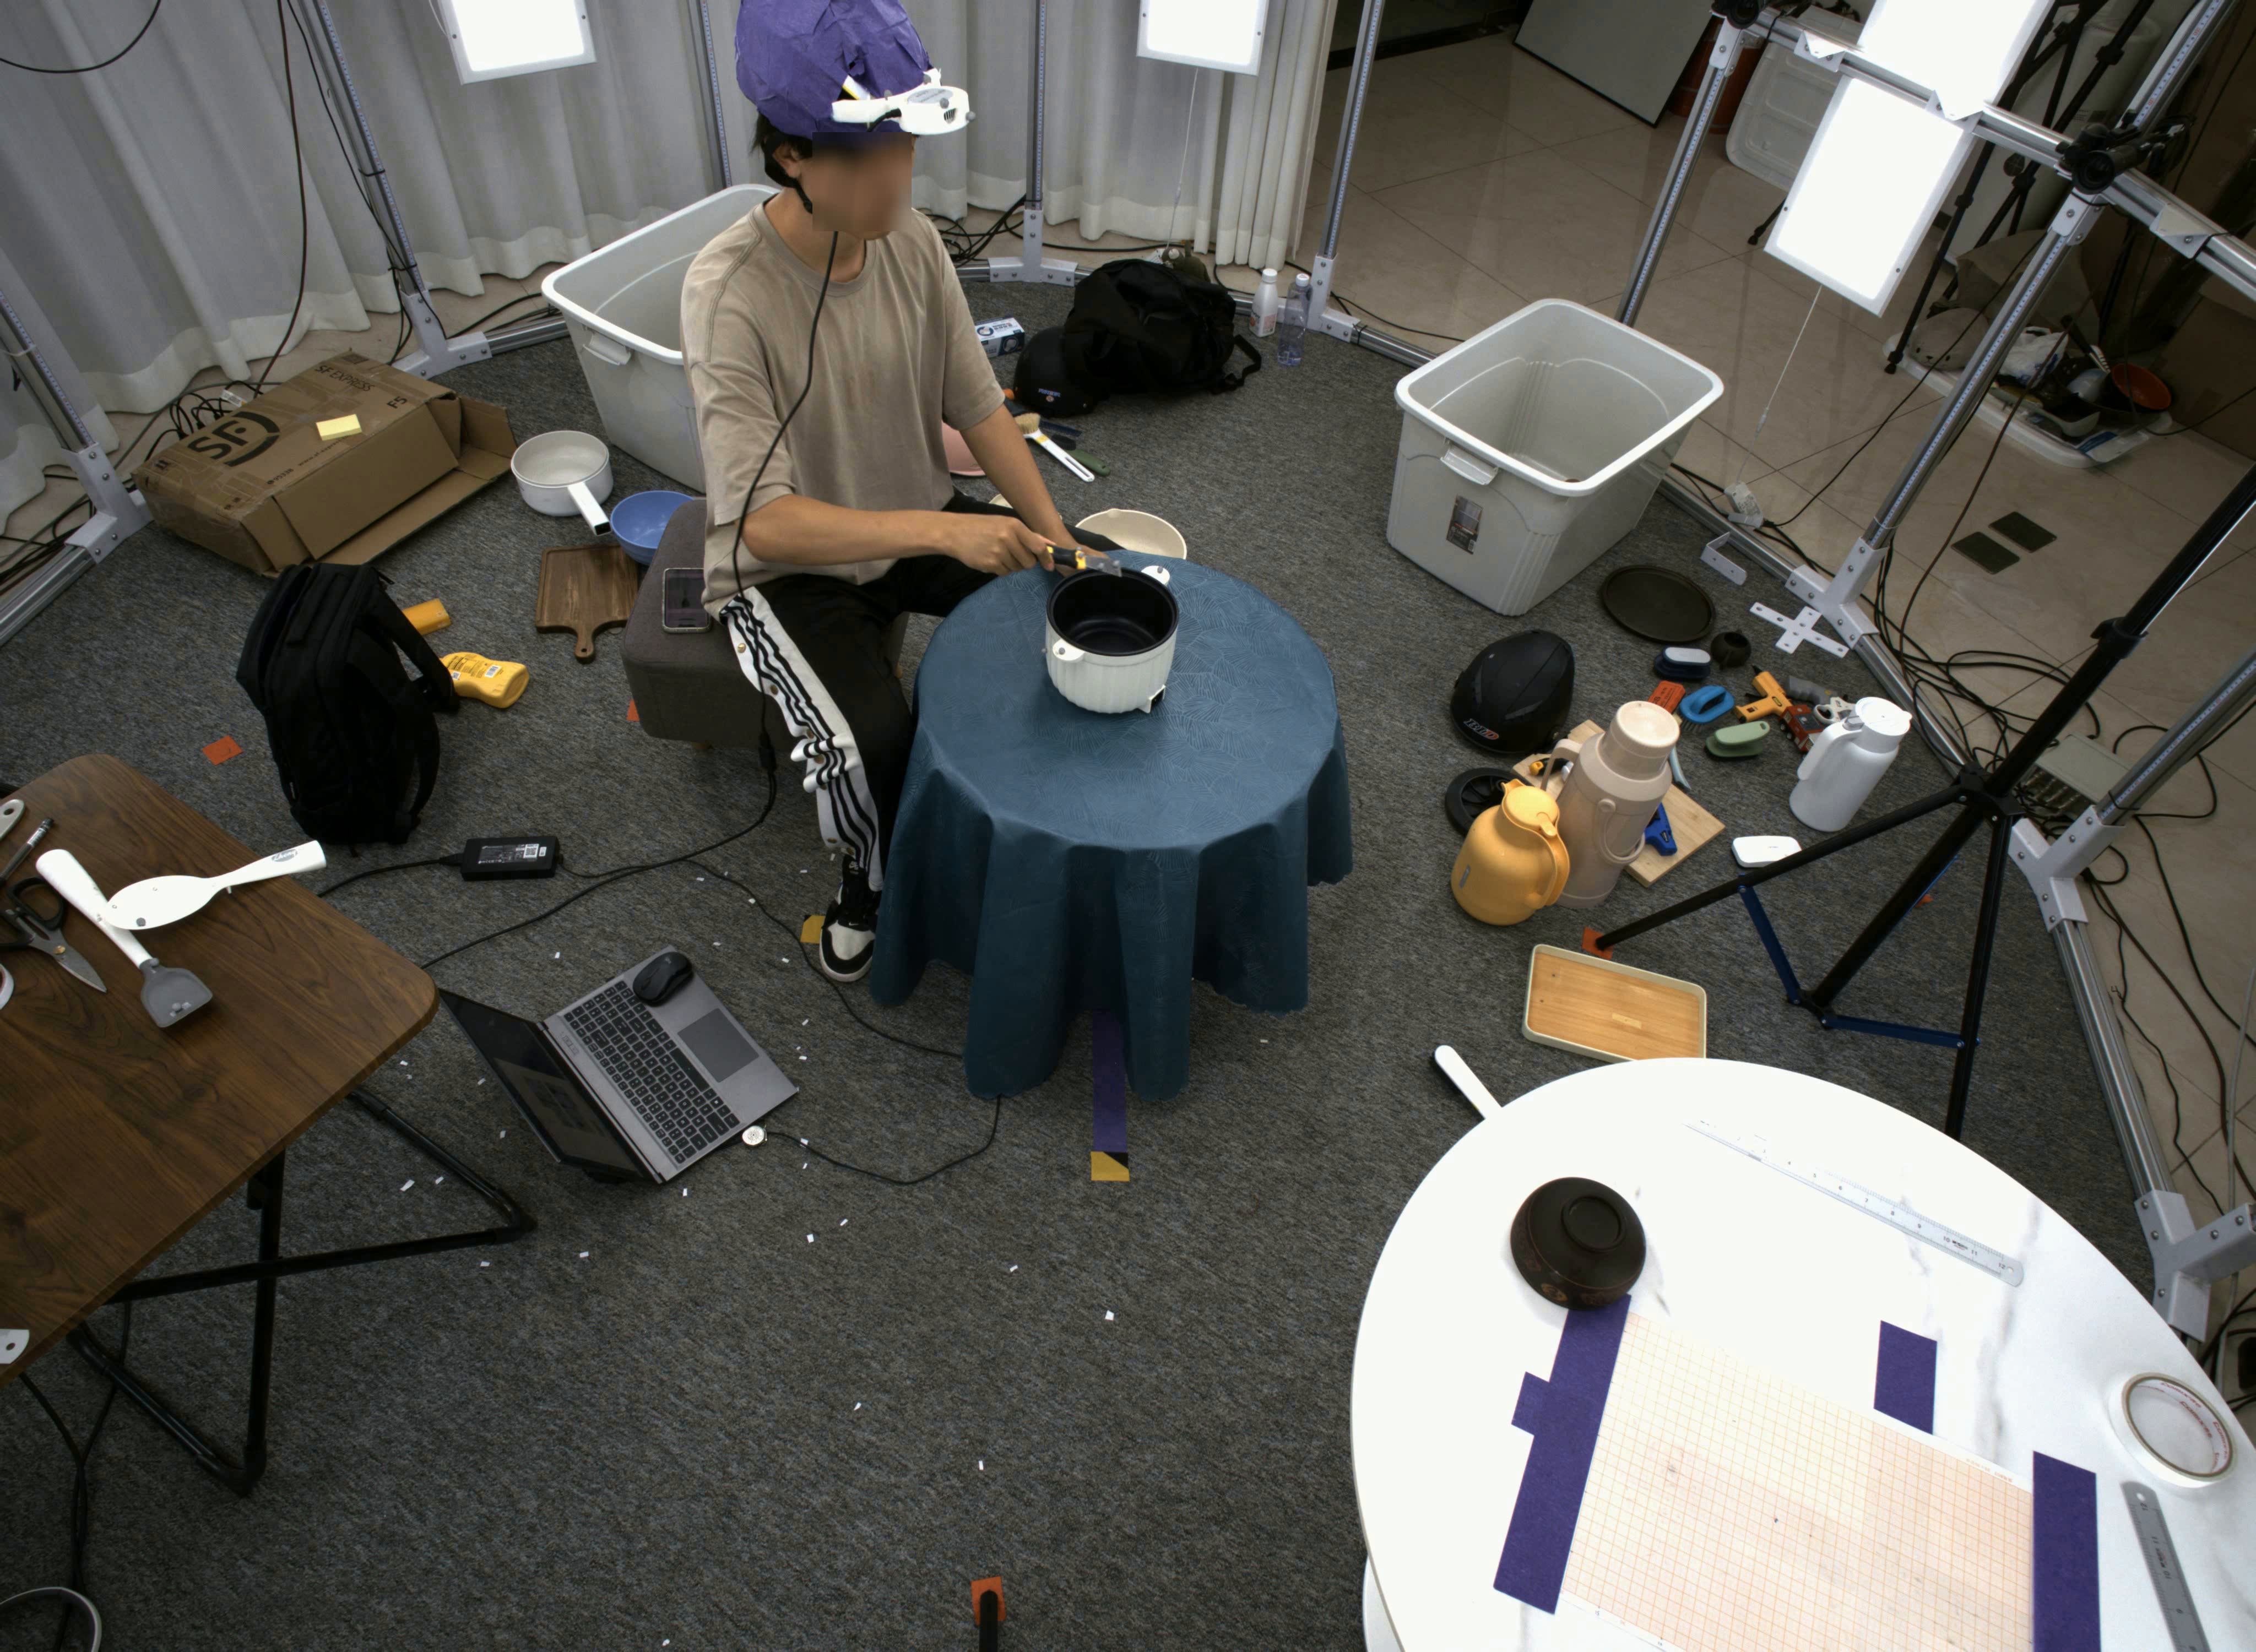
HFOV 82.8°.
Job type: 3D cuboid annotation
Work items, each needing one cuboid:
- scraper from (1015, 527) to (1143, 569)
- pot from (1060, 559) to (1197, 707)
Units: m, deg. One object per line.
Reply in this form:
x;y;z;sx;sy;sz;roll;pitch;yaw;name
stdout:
-0.062;-0.359;1.662;0.170;0.014;0.040;6;54;-17;scraper
-0.007;-0.265;1.792;0.192;0.139;0.243;33;52;16;pot
